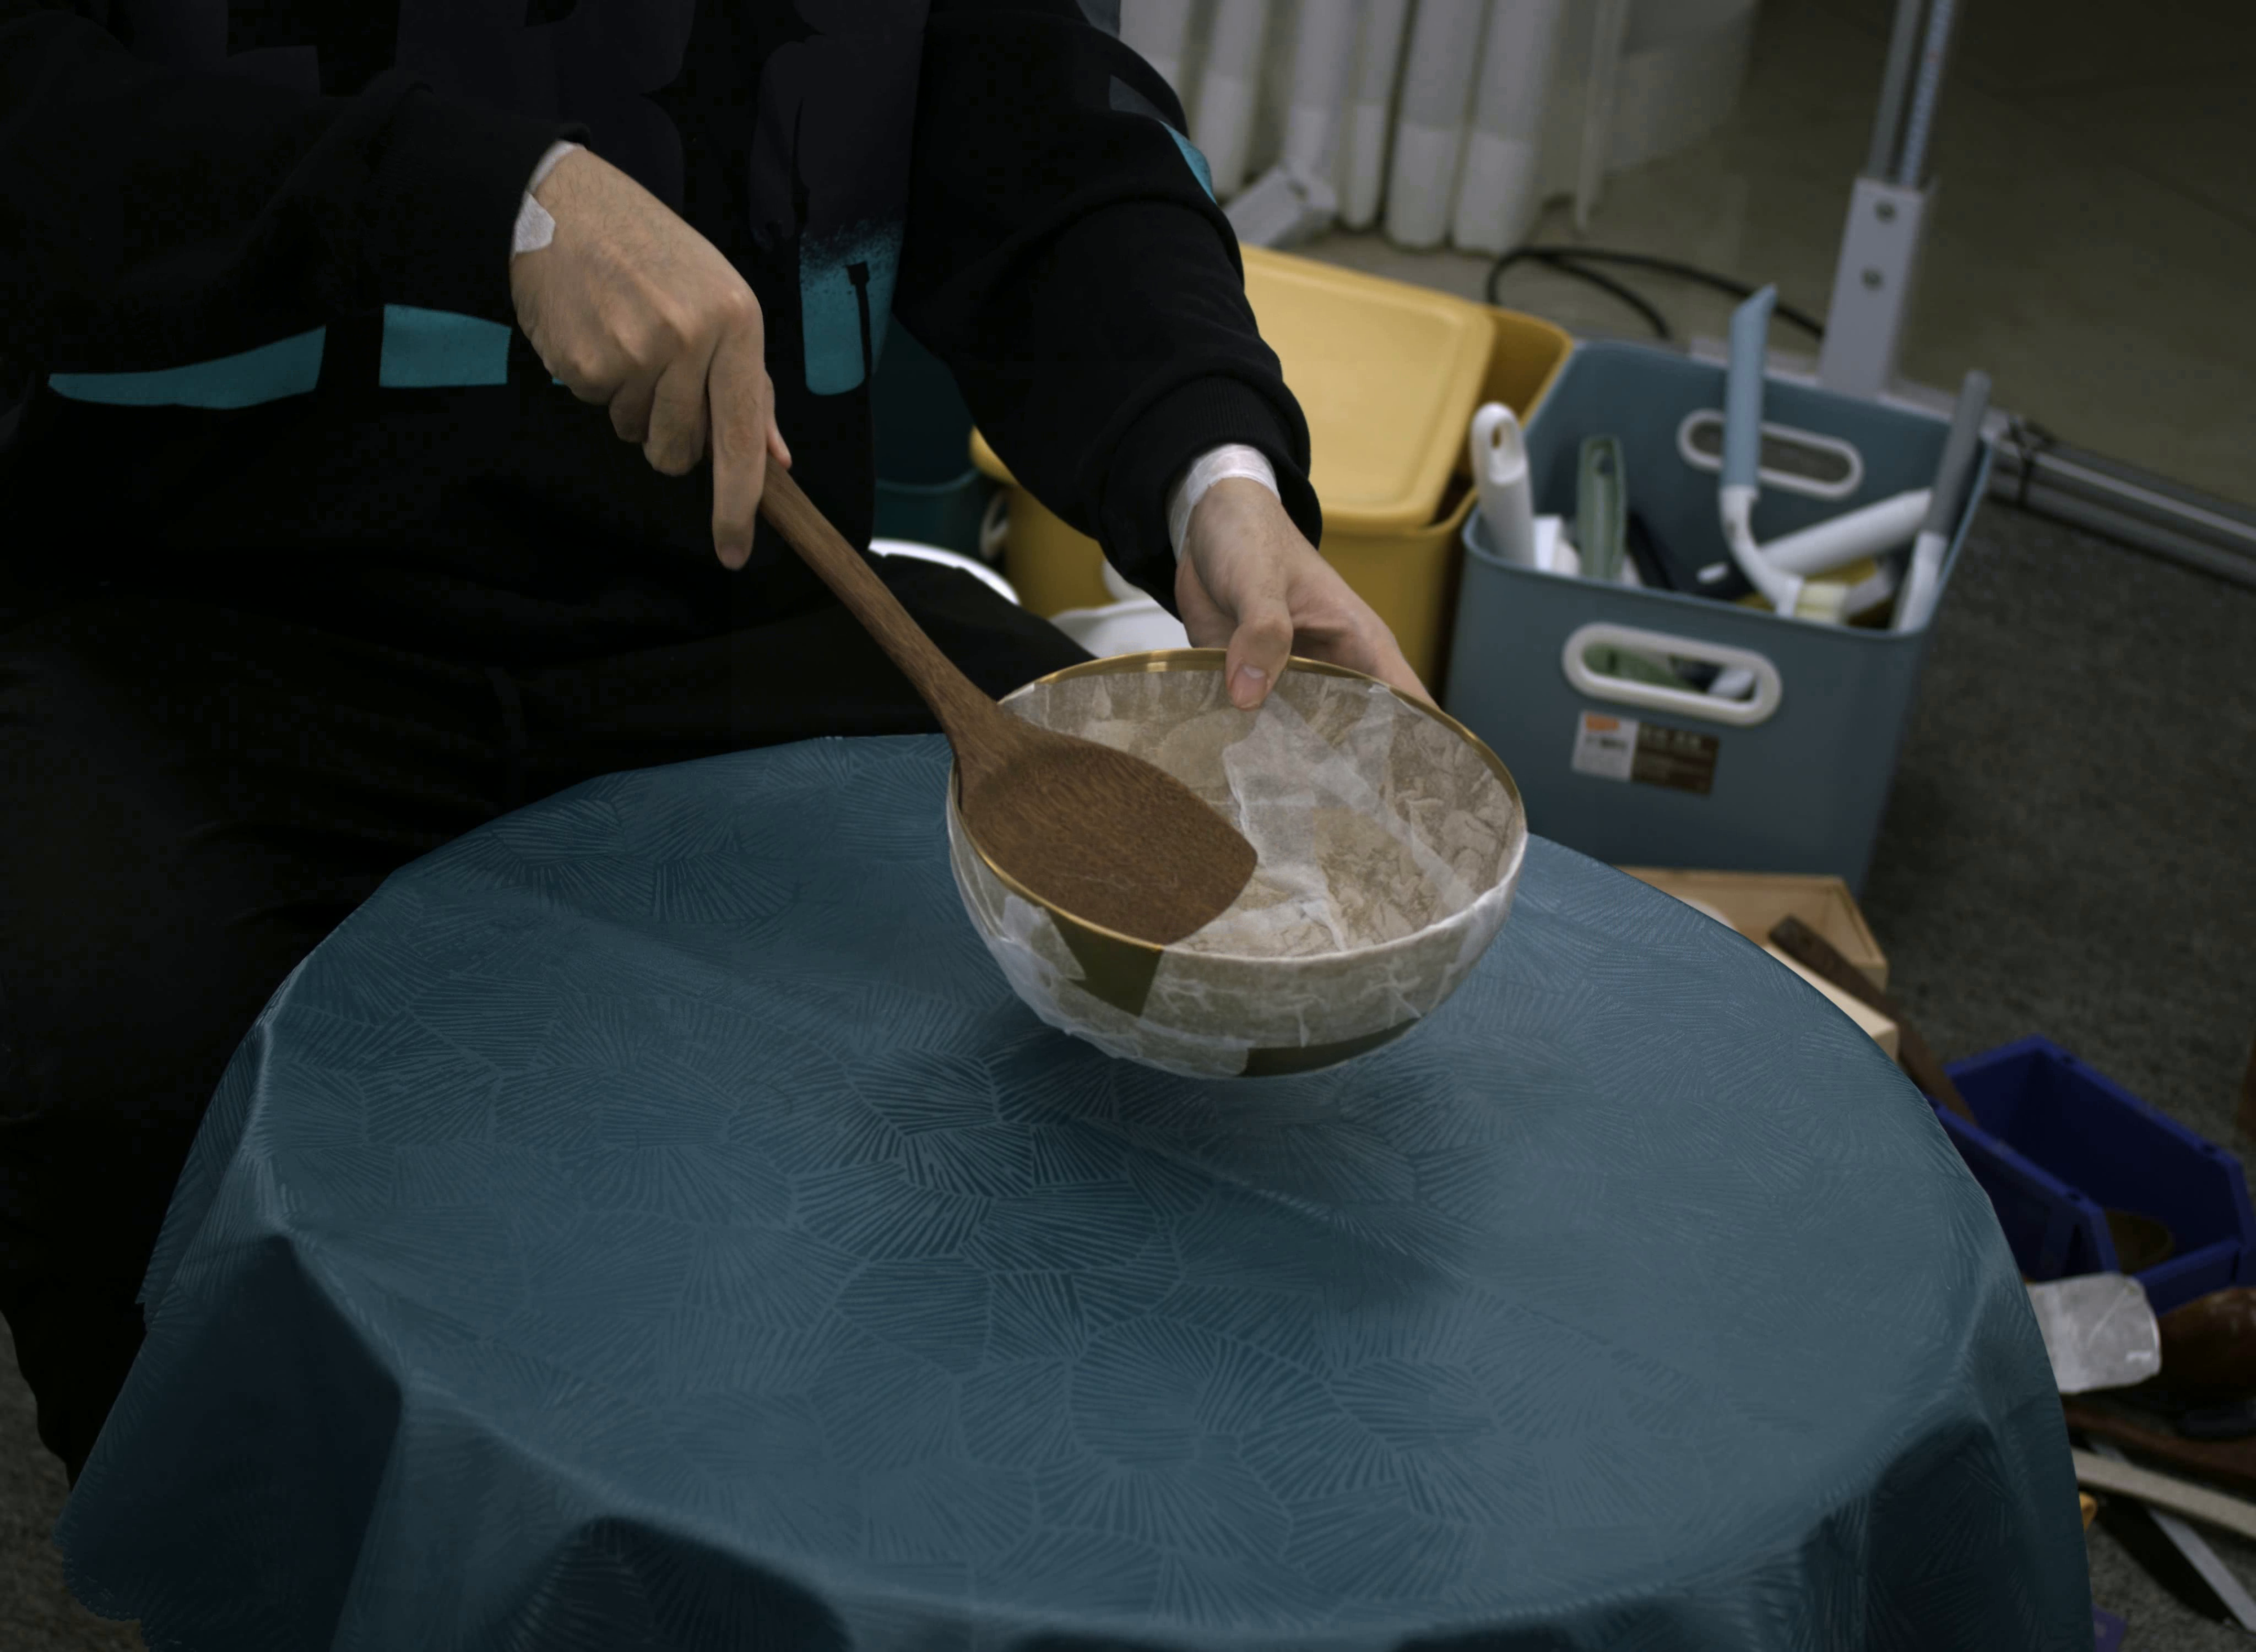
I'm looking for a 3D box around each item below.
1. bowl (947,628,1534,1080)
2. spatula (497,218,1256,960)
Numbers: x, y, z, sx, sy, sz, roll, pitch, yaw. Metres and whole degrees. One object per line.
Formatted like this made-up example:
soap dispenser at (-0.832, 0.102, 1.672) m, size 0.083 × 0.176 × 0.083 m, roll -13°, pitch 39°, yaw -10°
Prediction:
bowl at (0.035, 0.022, 1.847) m, size 0.214 × 0.094 × 0.216 m, roll 3°, pitch 34°, yaw -2°
spatula at (-0.103, -0.091, 1.866) m, size 0.096 × 0.016 × 0.388 m, roll -26°, pitch 62°, yaw -36°
